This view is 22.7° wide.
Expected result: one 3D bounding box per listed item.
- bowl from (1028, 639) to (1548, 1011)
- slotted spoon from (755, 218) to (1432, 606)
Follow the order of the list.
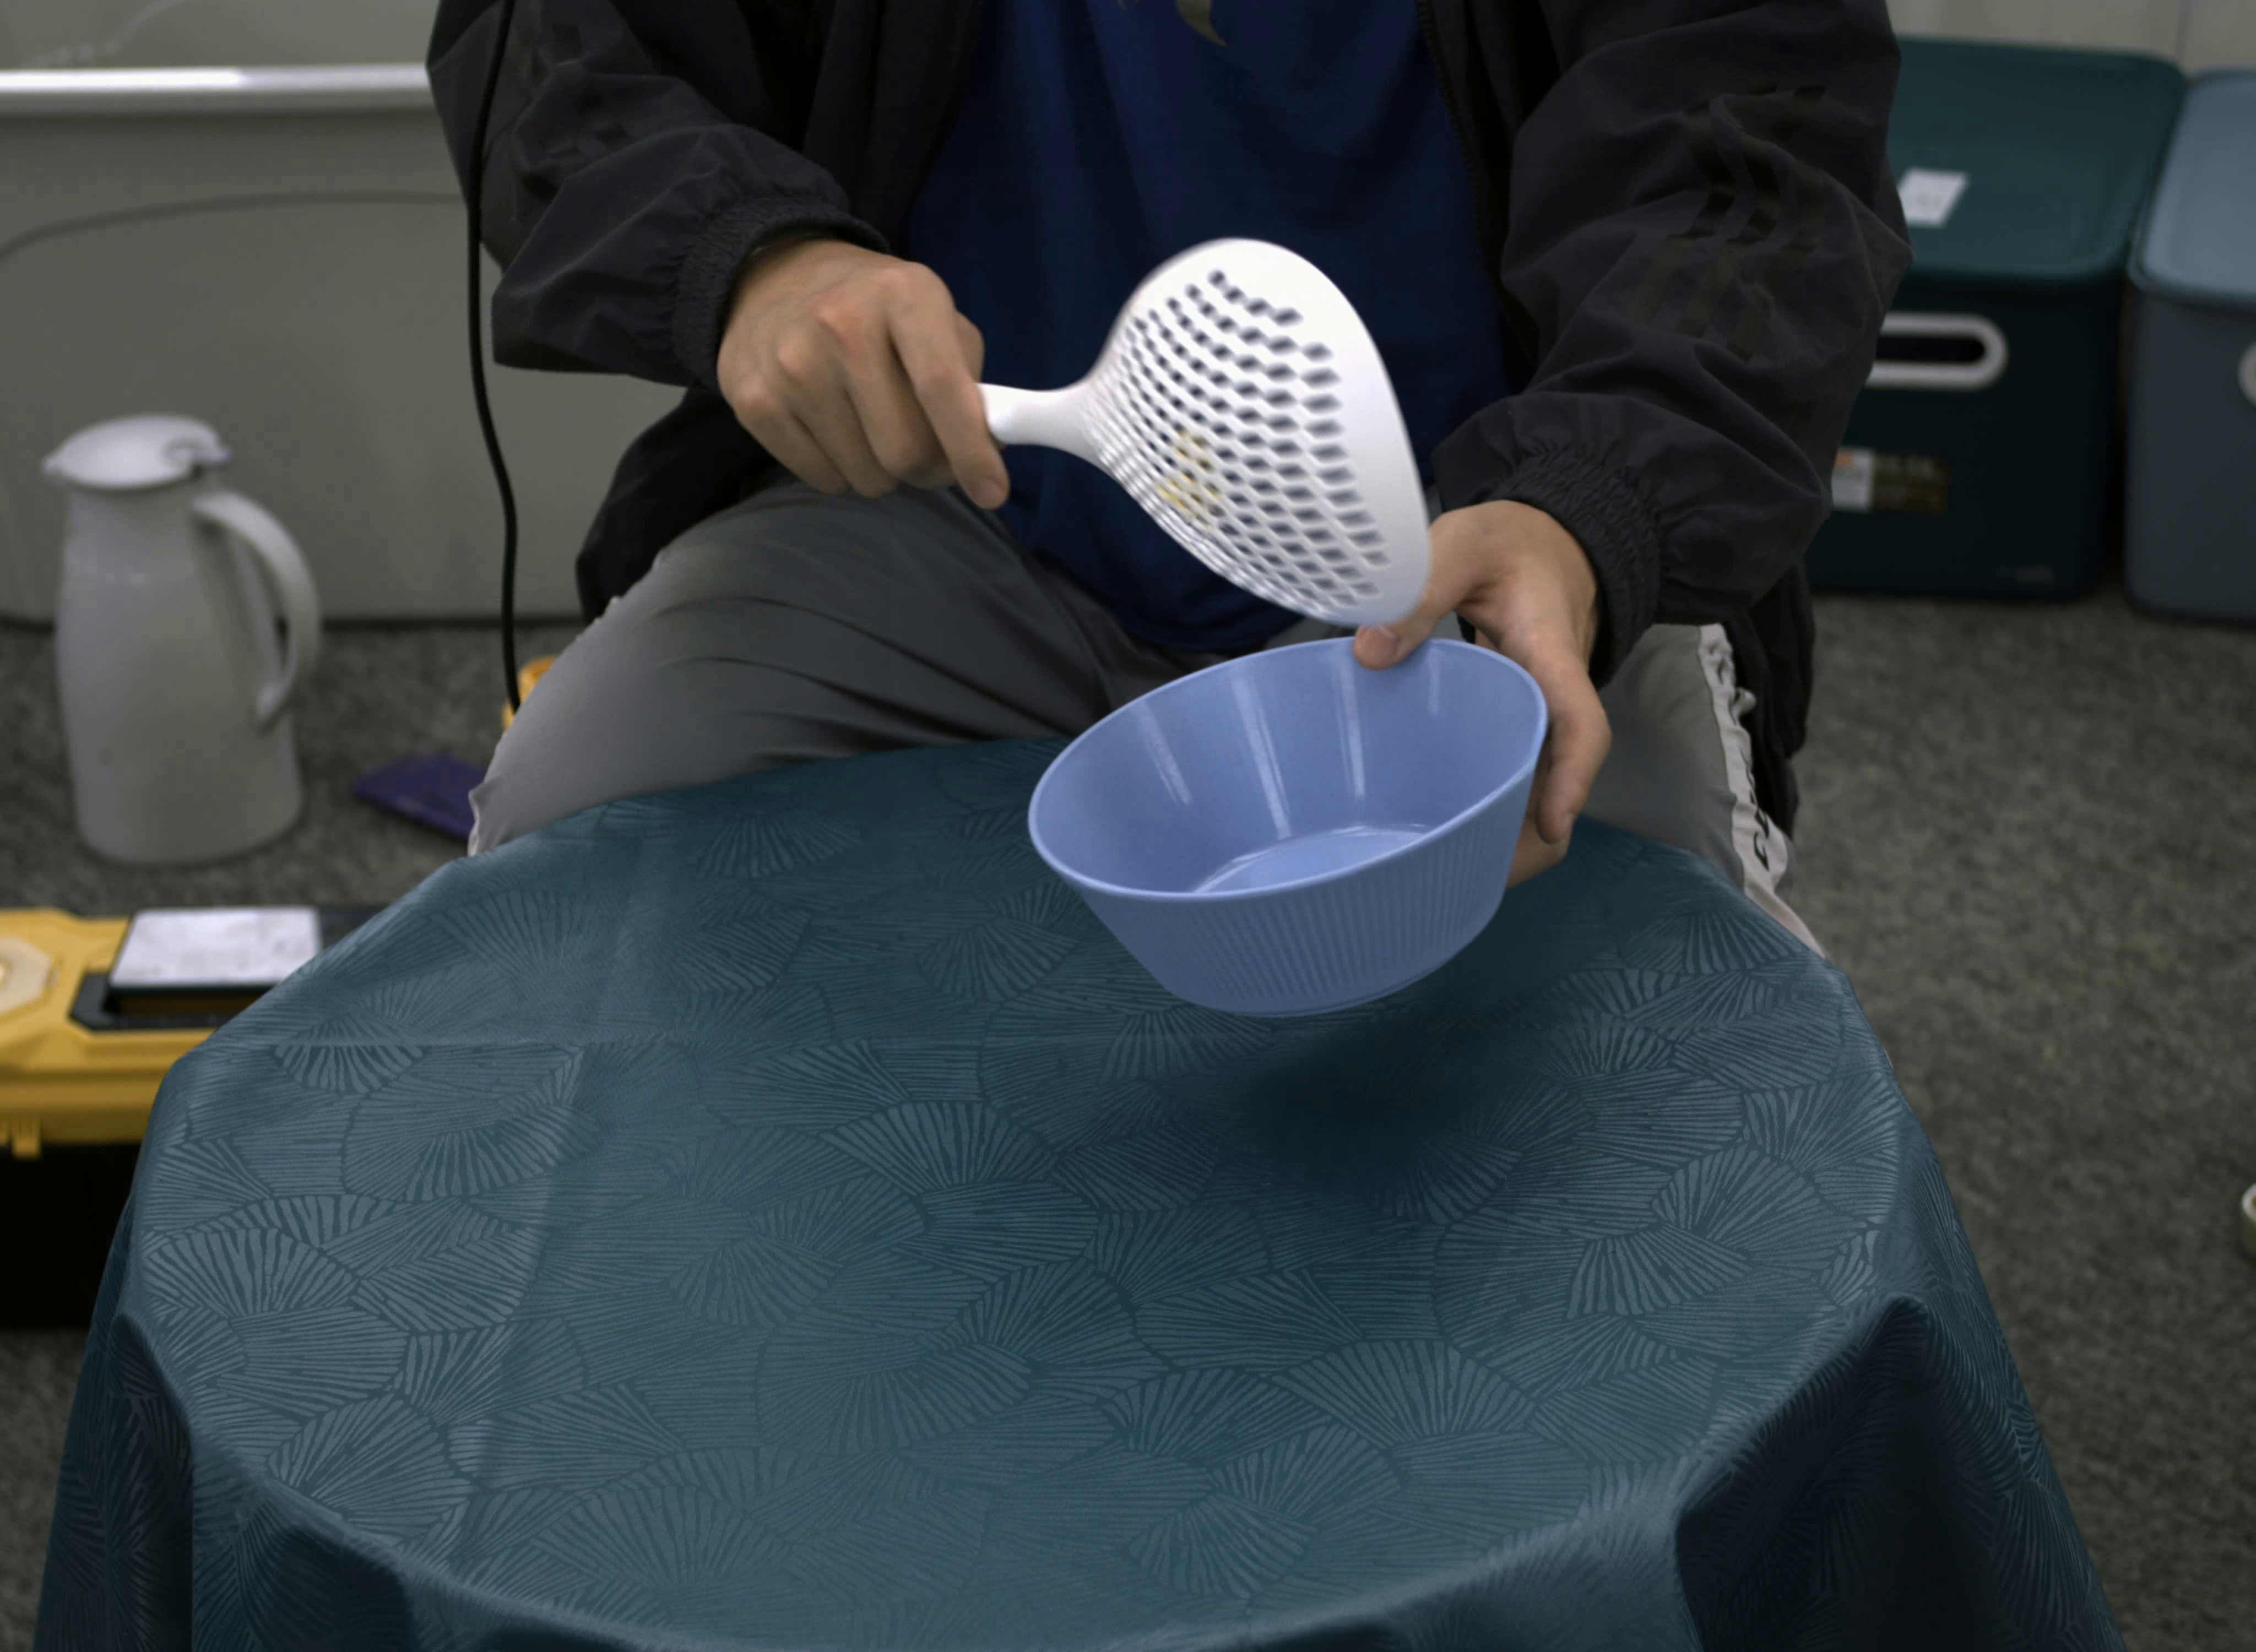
[{"bbox_3d":[0.059,0.005,1.866,0.175,0.069,0.178,-11,25,6],"label":"bowl"},{"bbox_3d":[-0.021,-0.138,1.907,0.051,0.136,0.346,-29,21,-26],"label":"slotted spoon"}]
